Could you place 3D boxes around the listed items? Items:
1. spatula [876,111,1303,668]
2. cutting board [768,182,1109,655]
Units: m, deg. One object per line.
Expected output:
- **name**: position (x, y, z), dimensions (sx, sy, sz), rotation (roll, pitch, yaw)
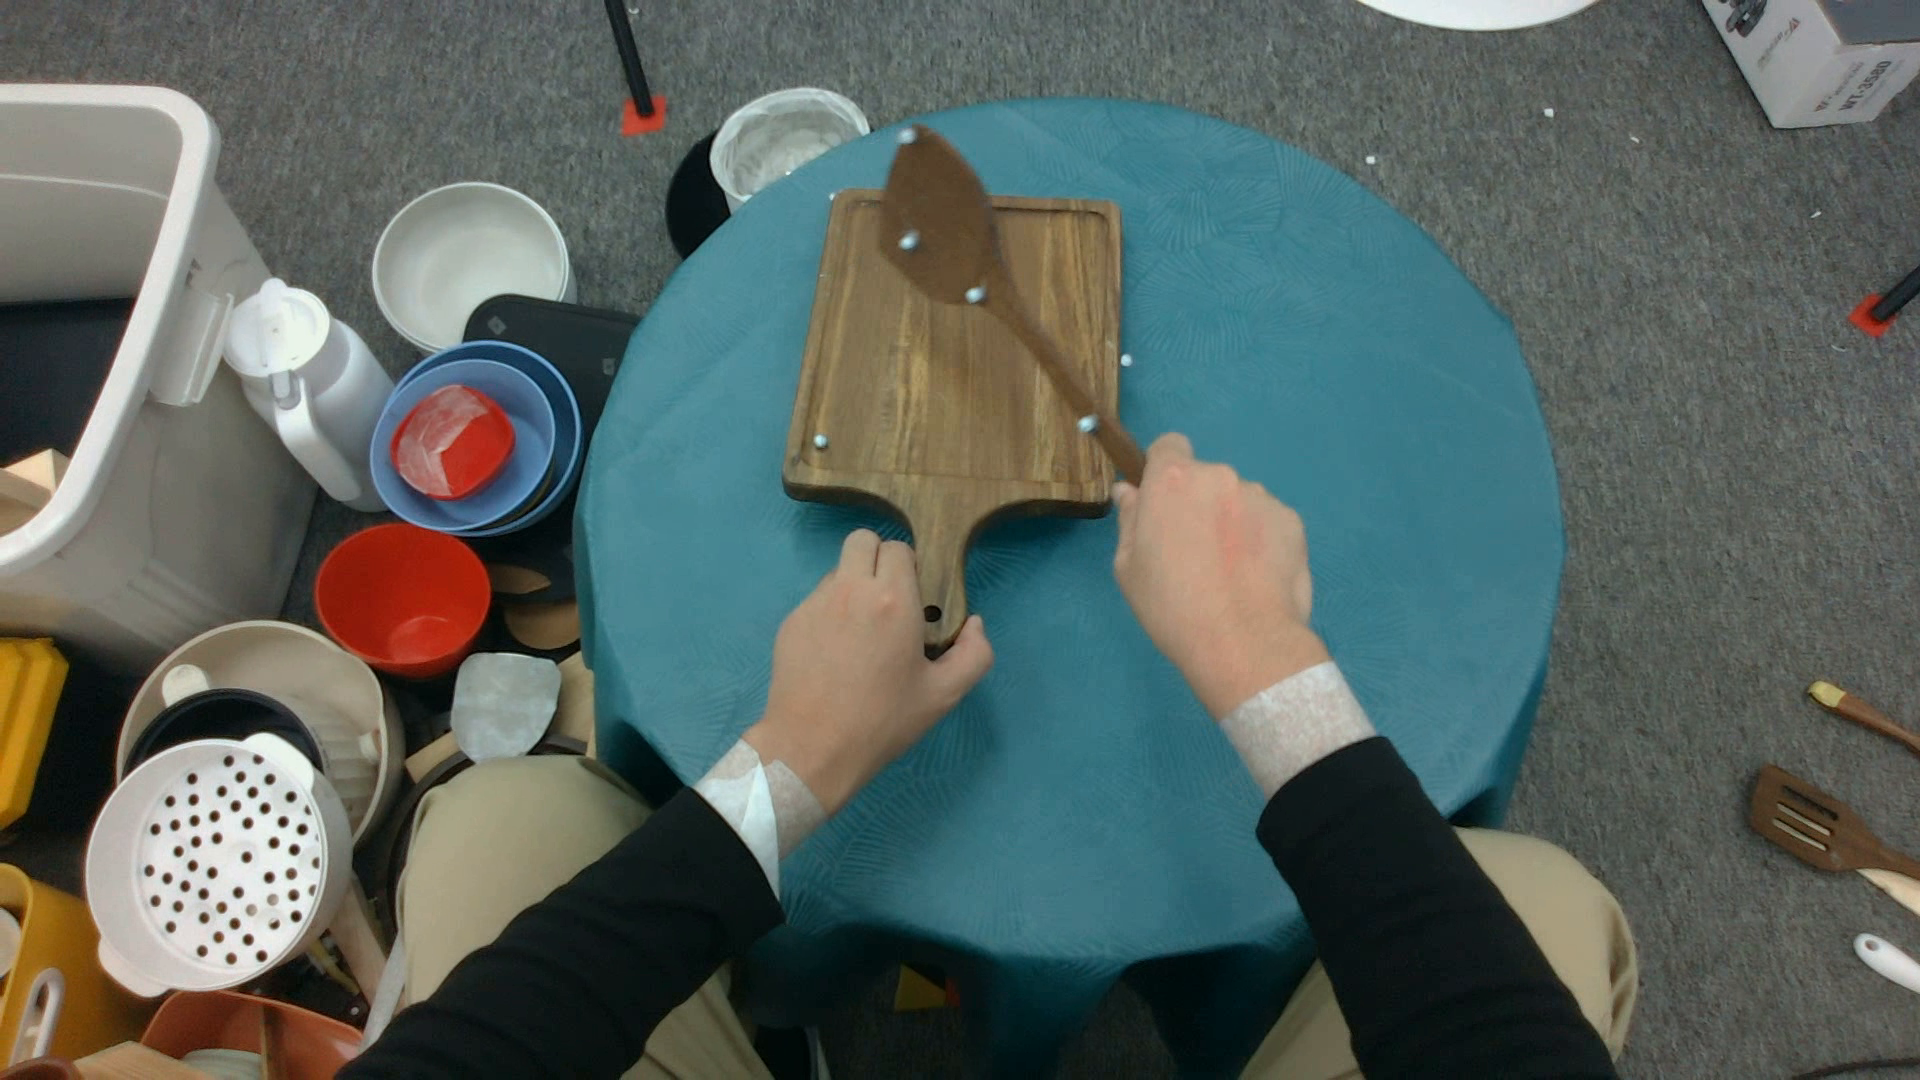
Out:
- **spatula**: position (0.058, -0.084, 0.730), dimensions (0.016, 0.095, 0.386), rotation (-15, 58, -33)
- **cutting board**: position (-0.010, -0.089, 0.836), dimensions (0.201, 0.023, 0.354), rotation (3, 56, 2)
